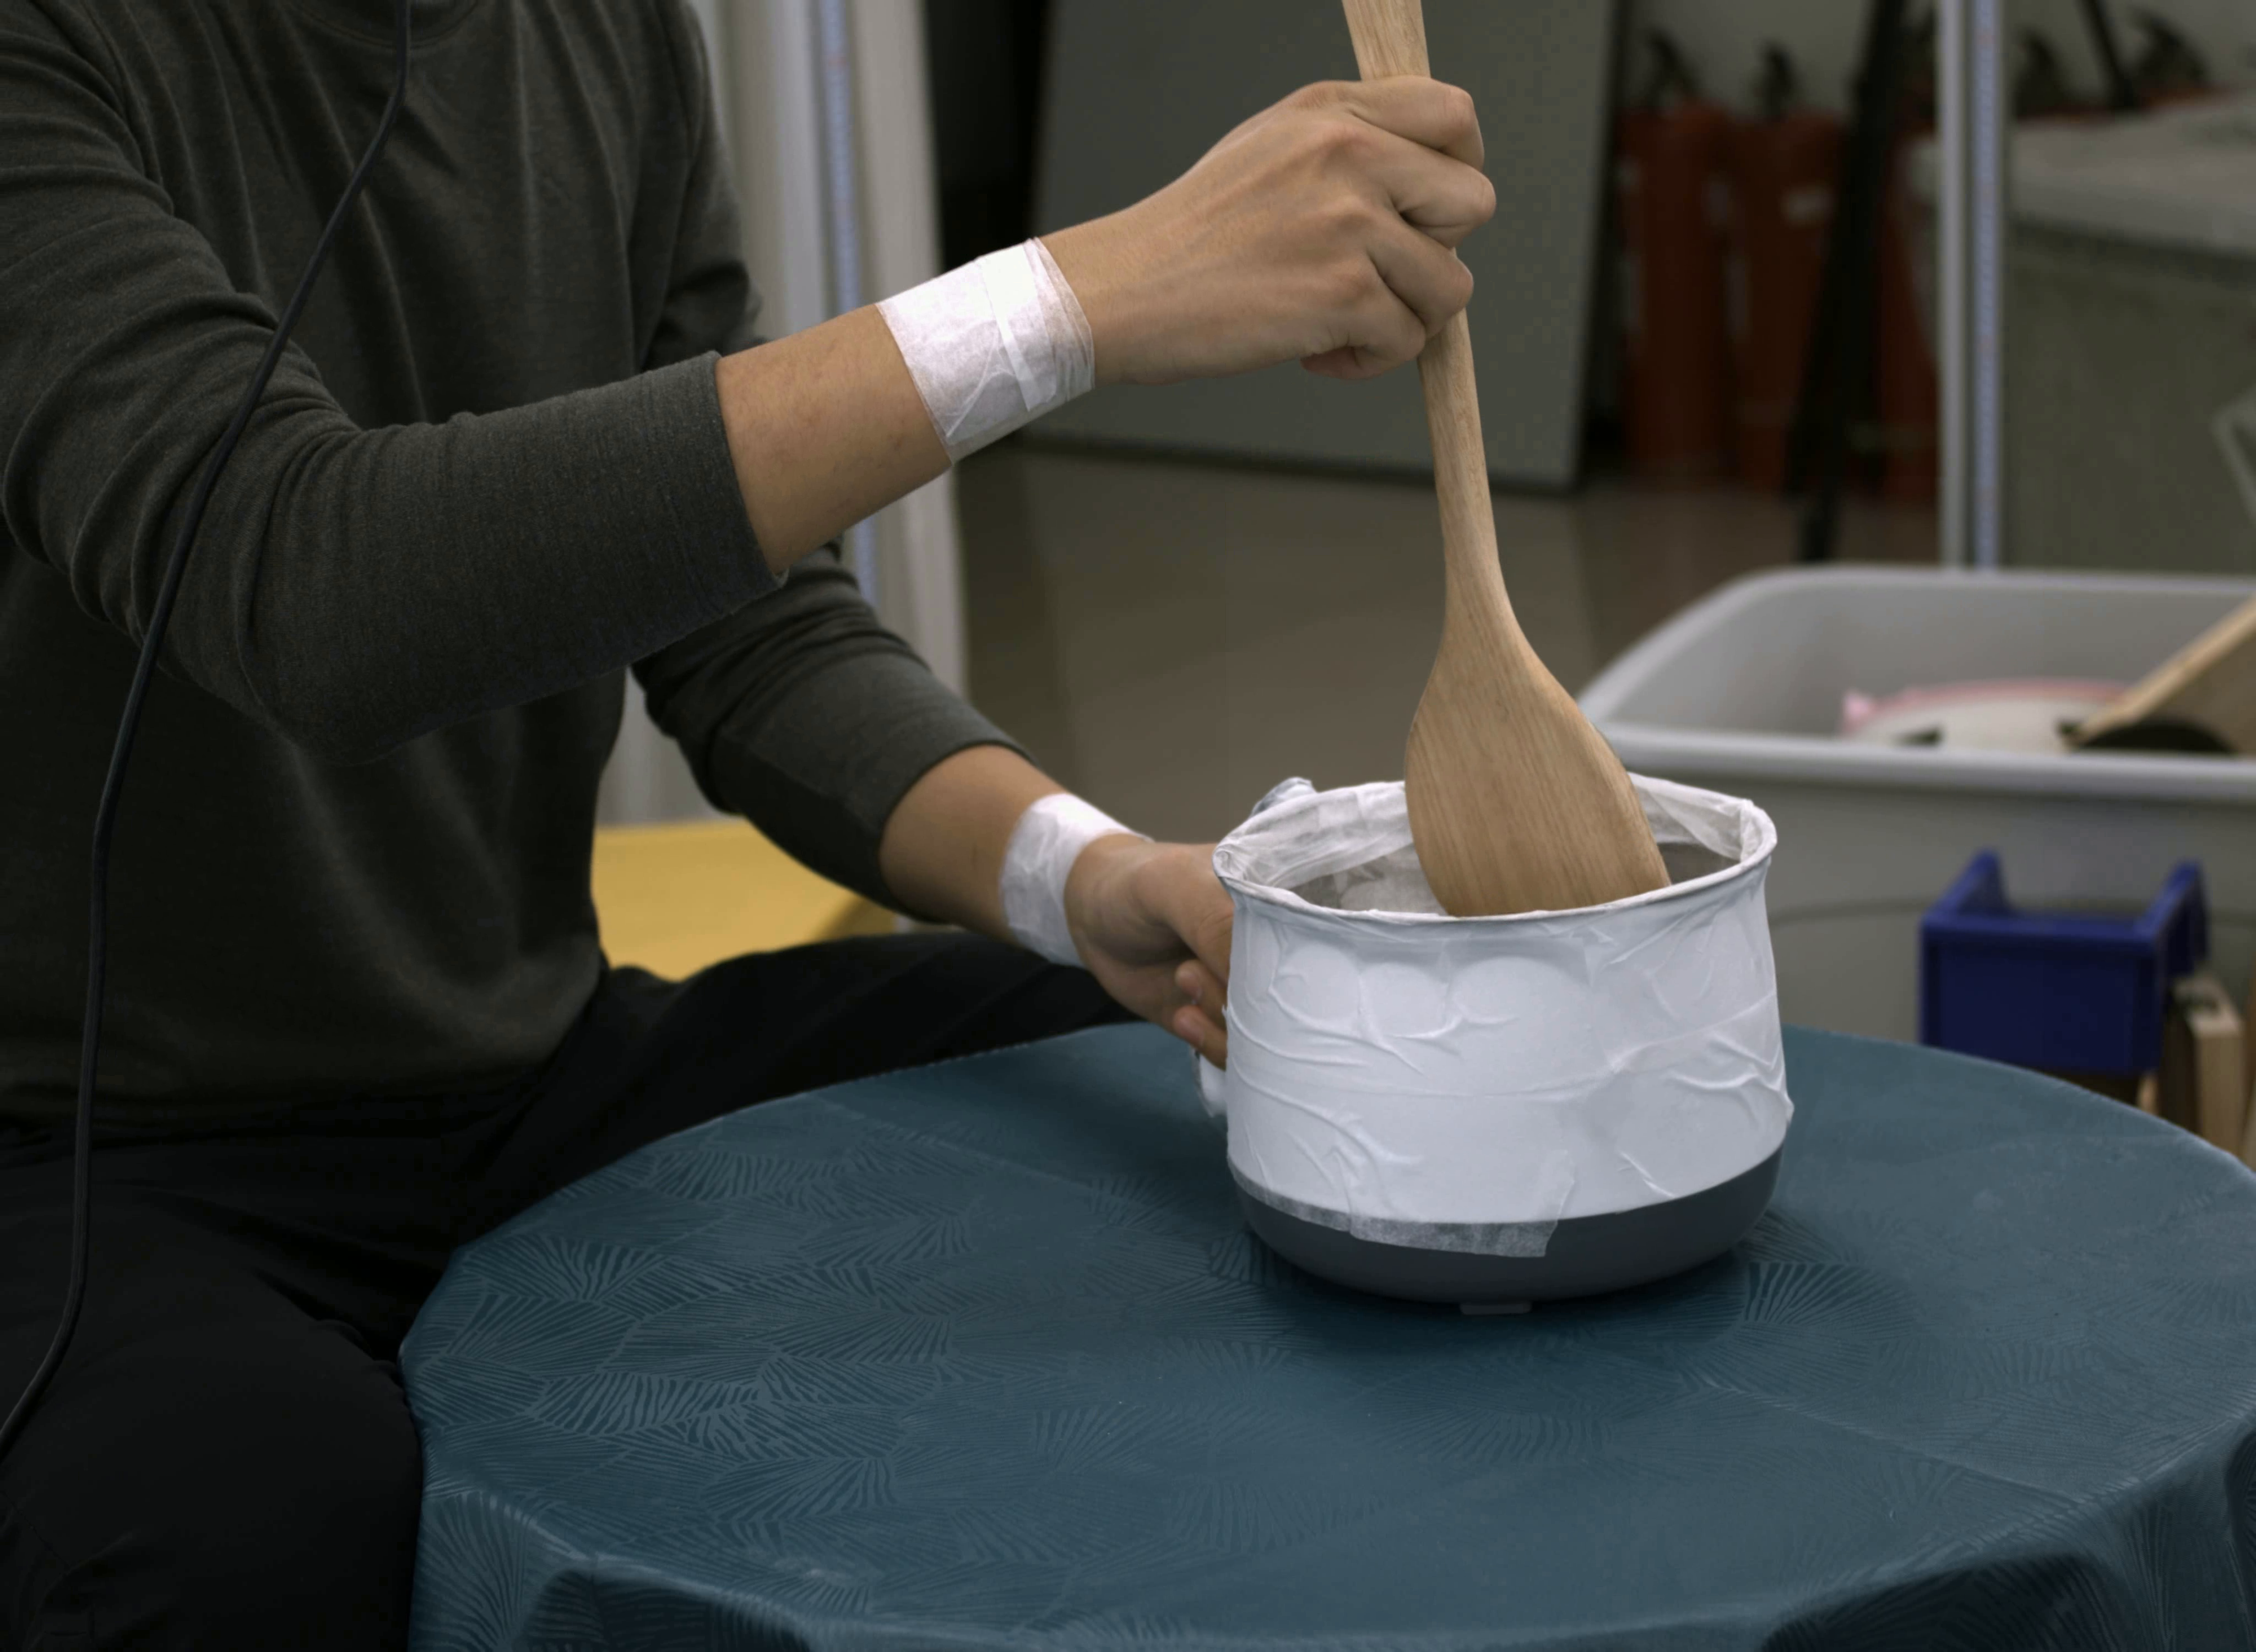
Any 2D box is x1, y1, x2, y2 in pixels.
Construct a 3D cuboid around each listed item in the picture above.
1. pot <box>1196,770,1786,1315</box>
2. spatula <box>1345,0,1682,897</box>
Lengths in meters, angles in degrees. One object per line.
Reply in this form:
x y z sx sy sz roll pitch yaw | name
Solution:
0.100 0.061 1.703 0.175 0.138 0.236 -13 16 -36 | pot
0.098 -0.150 1.637 0.096 0.395 0.018 -2 13 42 | spatula
